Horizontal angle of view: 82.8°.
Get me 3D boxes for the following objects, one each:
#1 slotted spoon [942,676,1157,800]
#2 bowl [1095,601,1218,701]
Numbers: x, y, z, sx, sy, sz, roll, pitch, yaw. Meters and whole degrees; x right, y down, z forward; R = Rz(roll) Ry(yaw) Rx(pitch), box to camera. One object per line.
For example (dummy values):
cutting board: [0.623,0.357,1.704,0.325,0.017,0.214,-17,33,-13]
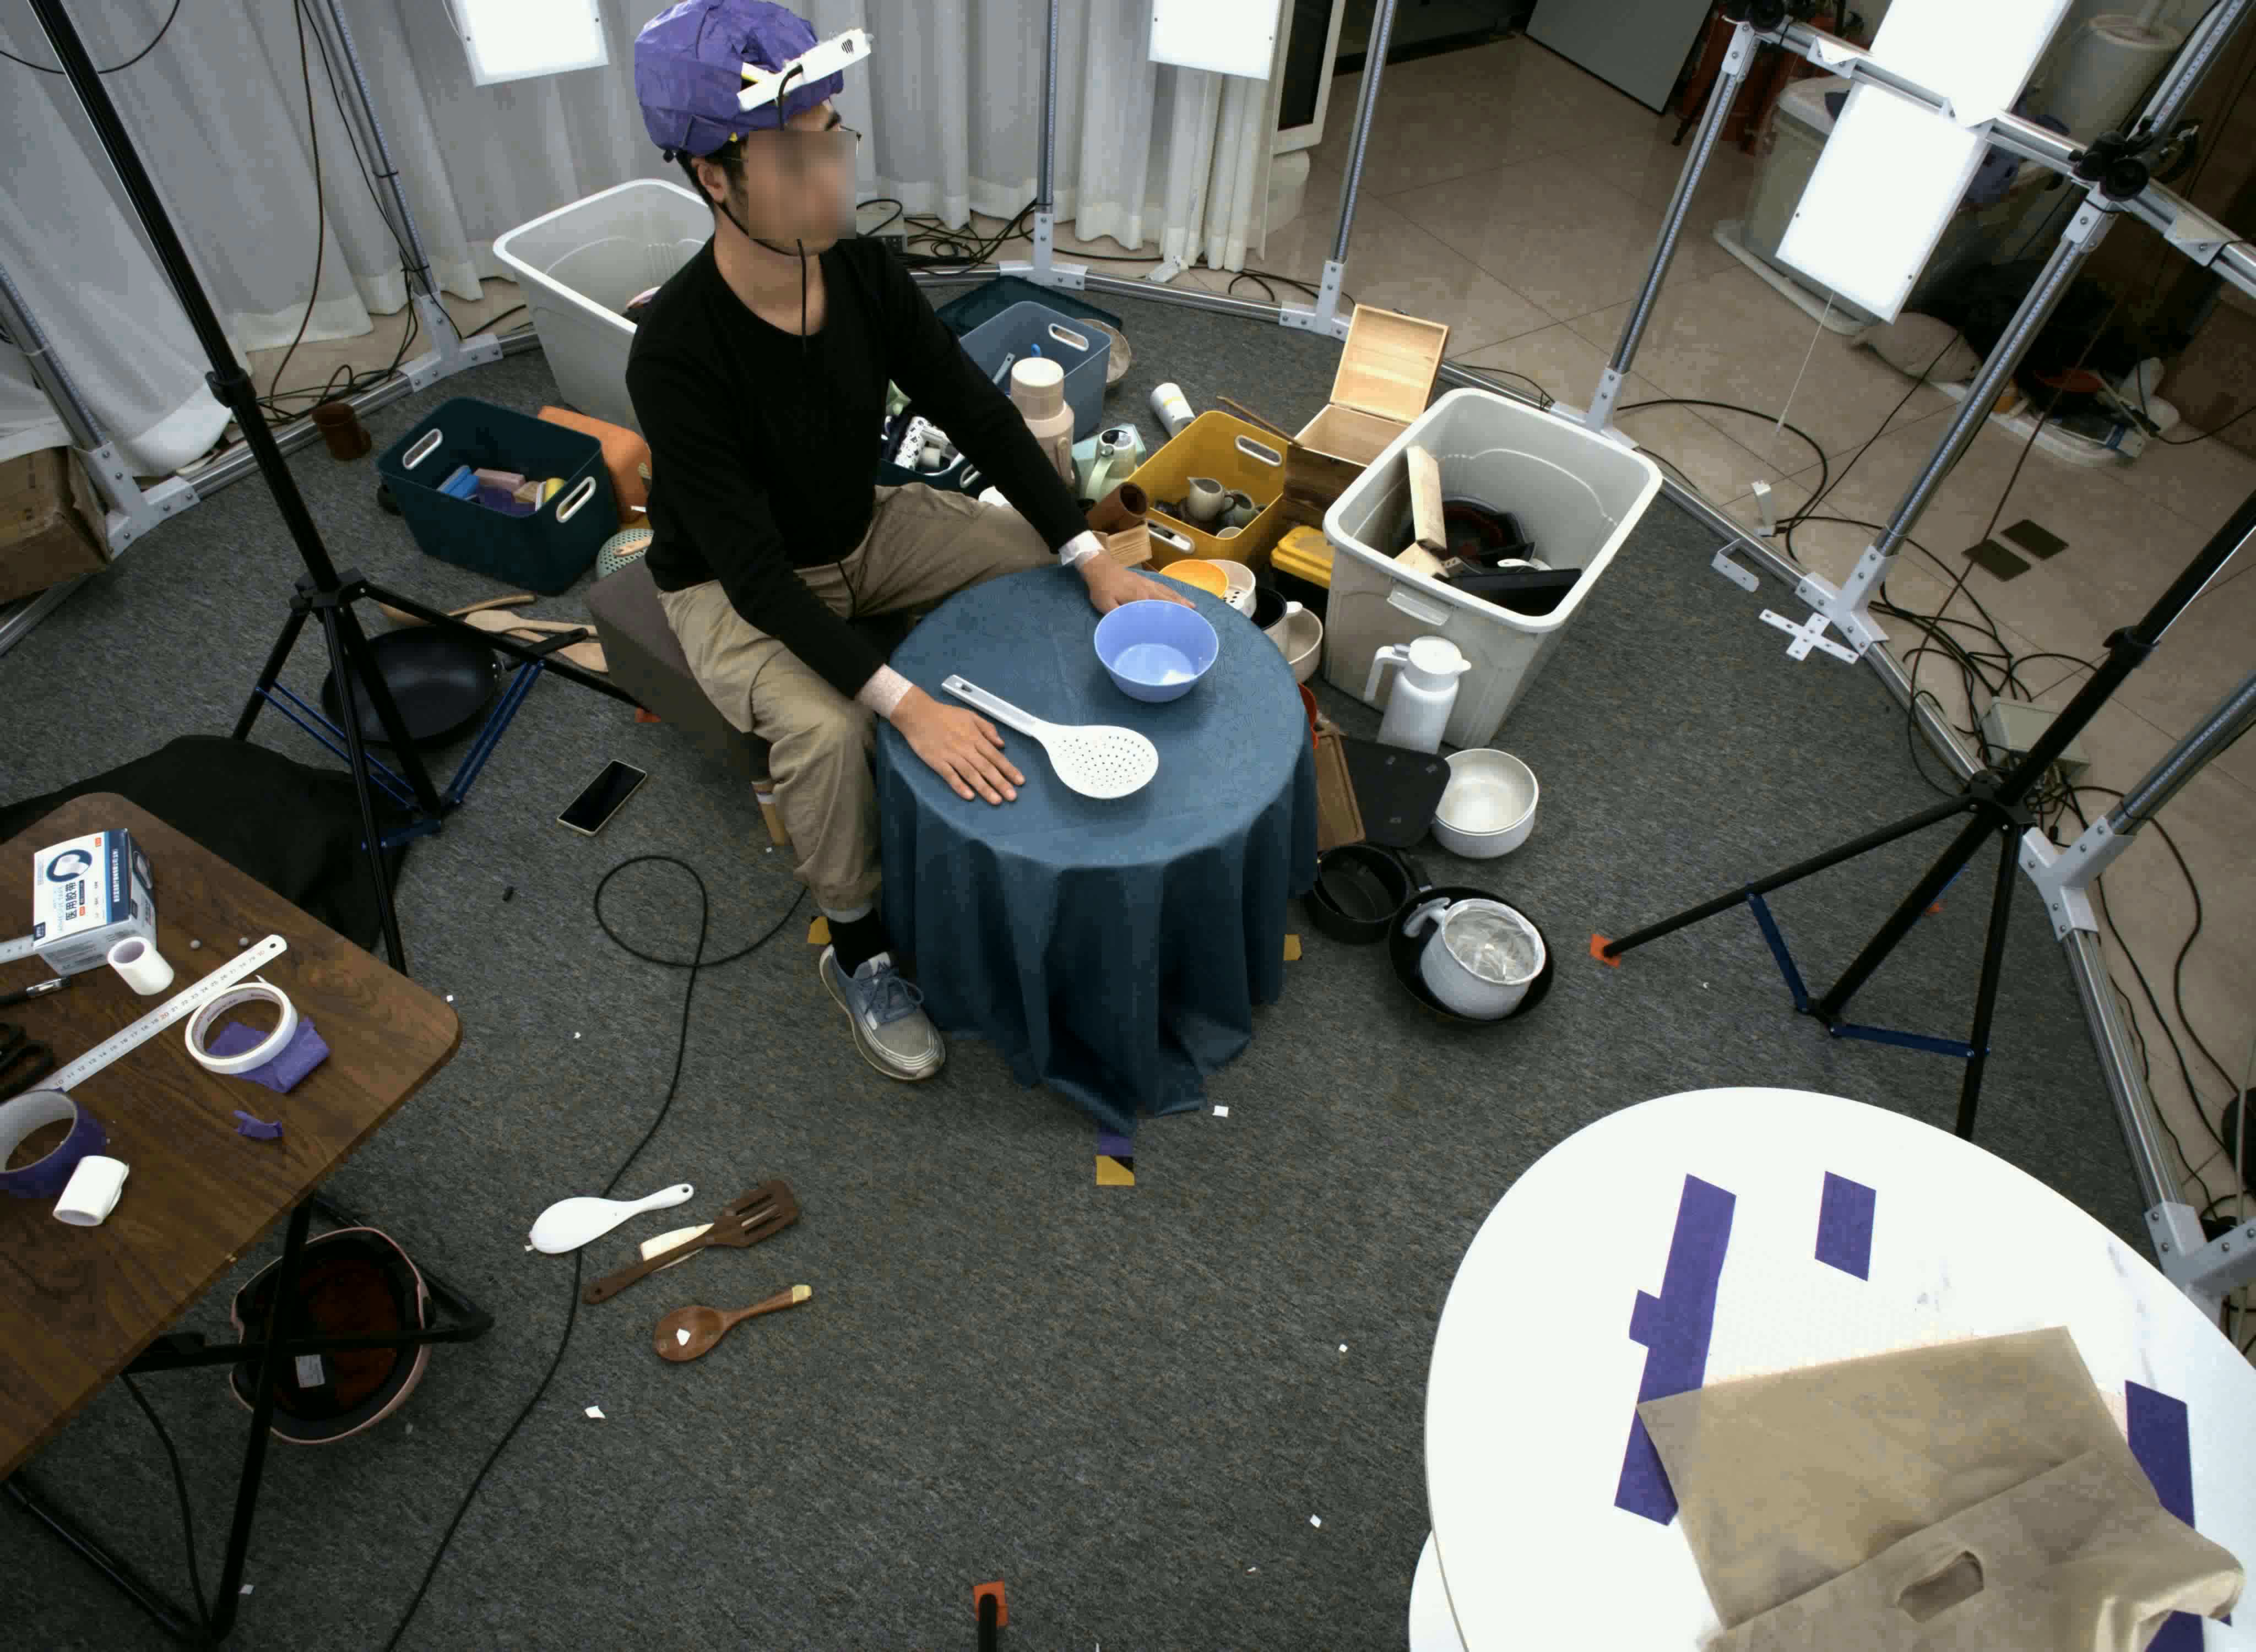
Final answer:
slotted spoon: [-0.116,-0.127,1.743,0.354,0.044,0.138,31,54,22]
bowl: [0.038,-0.242,1.837,0.176,0.068,0.180,2,48,-2]
